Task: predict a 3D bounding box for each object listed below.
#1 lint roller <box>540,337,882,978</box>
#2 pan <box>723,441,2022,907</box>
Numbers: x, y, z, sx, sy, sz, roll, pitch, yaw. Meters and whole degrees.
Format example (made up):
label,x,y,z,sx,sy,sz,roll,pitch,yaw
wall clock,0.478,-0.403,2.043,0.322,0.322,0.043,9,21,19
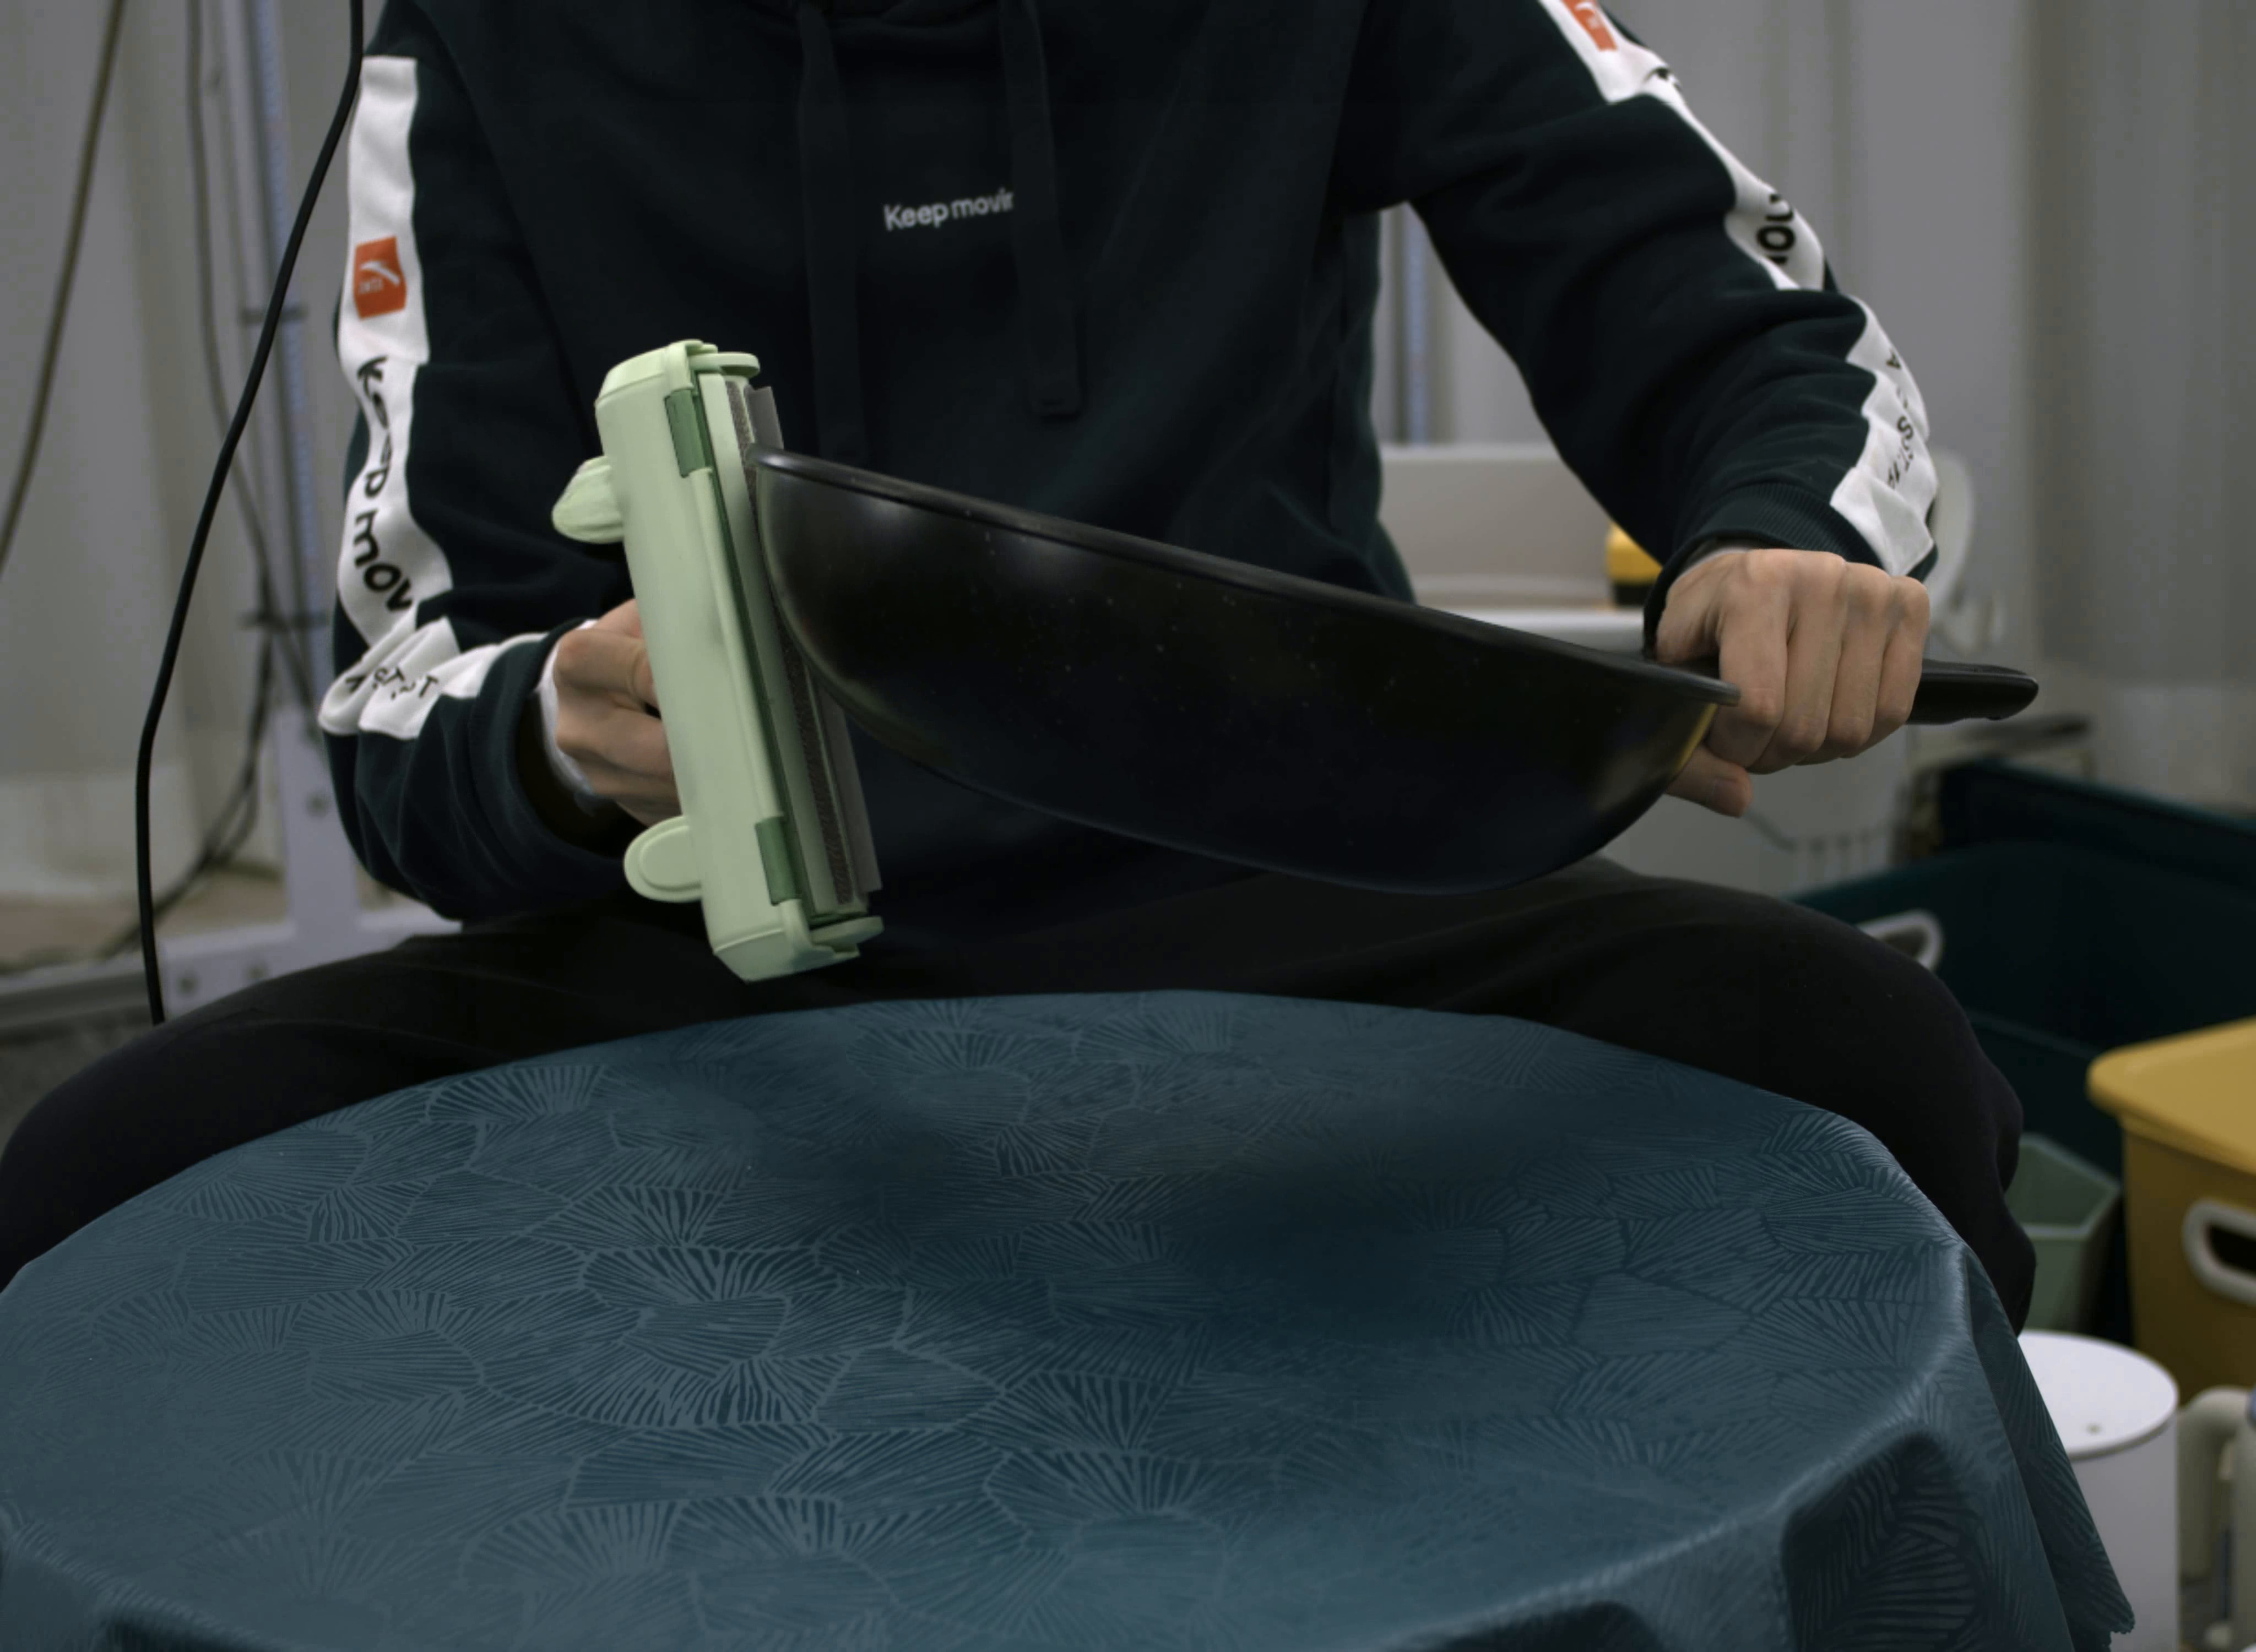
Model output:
label,x,y,z,sx,sy,sz,roll,pitch,yaw
lint roller,-0.146,-0.040,1.753,0.082,0.200,0.183,-10,-9,-21
pan,0.089,-0.035,1.693,0.472,0.112,0.312,11,5,-35
